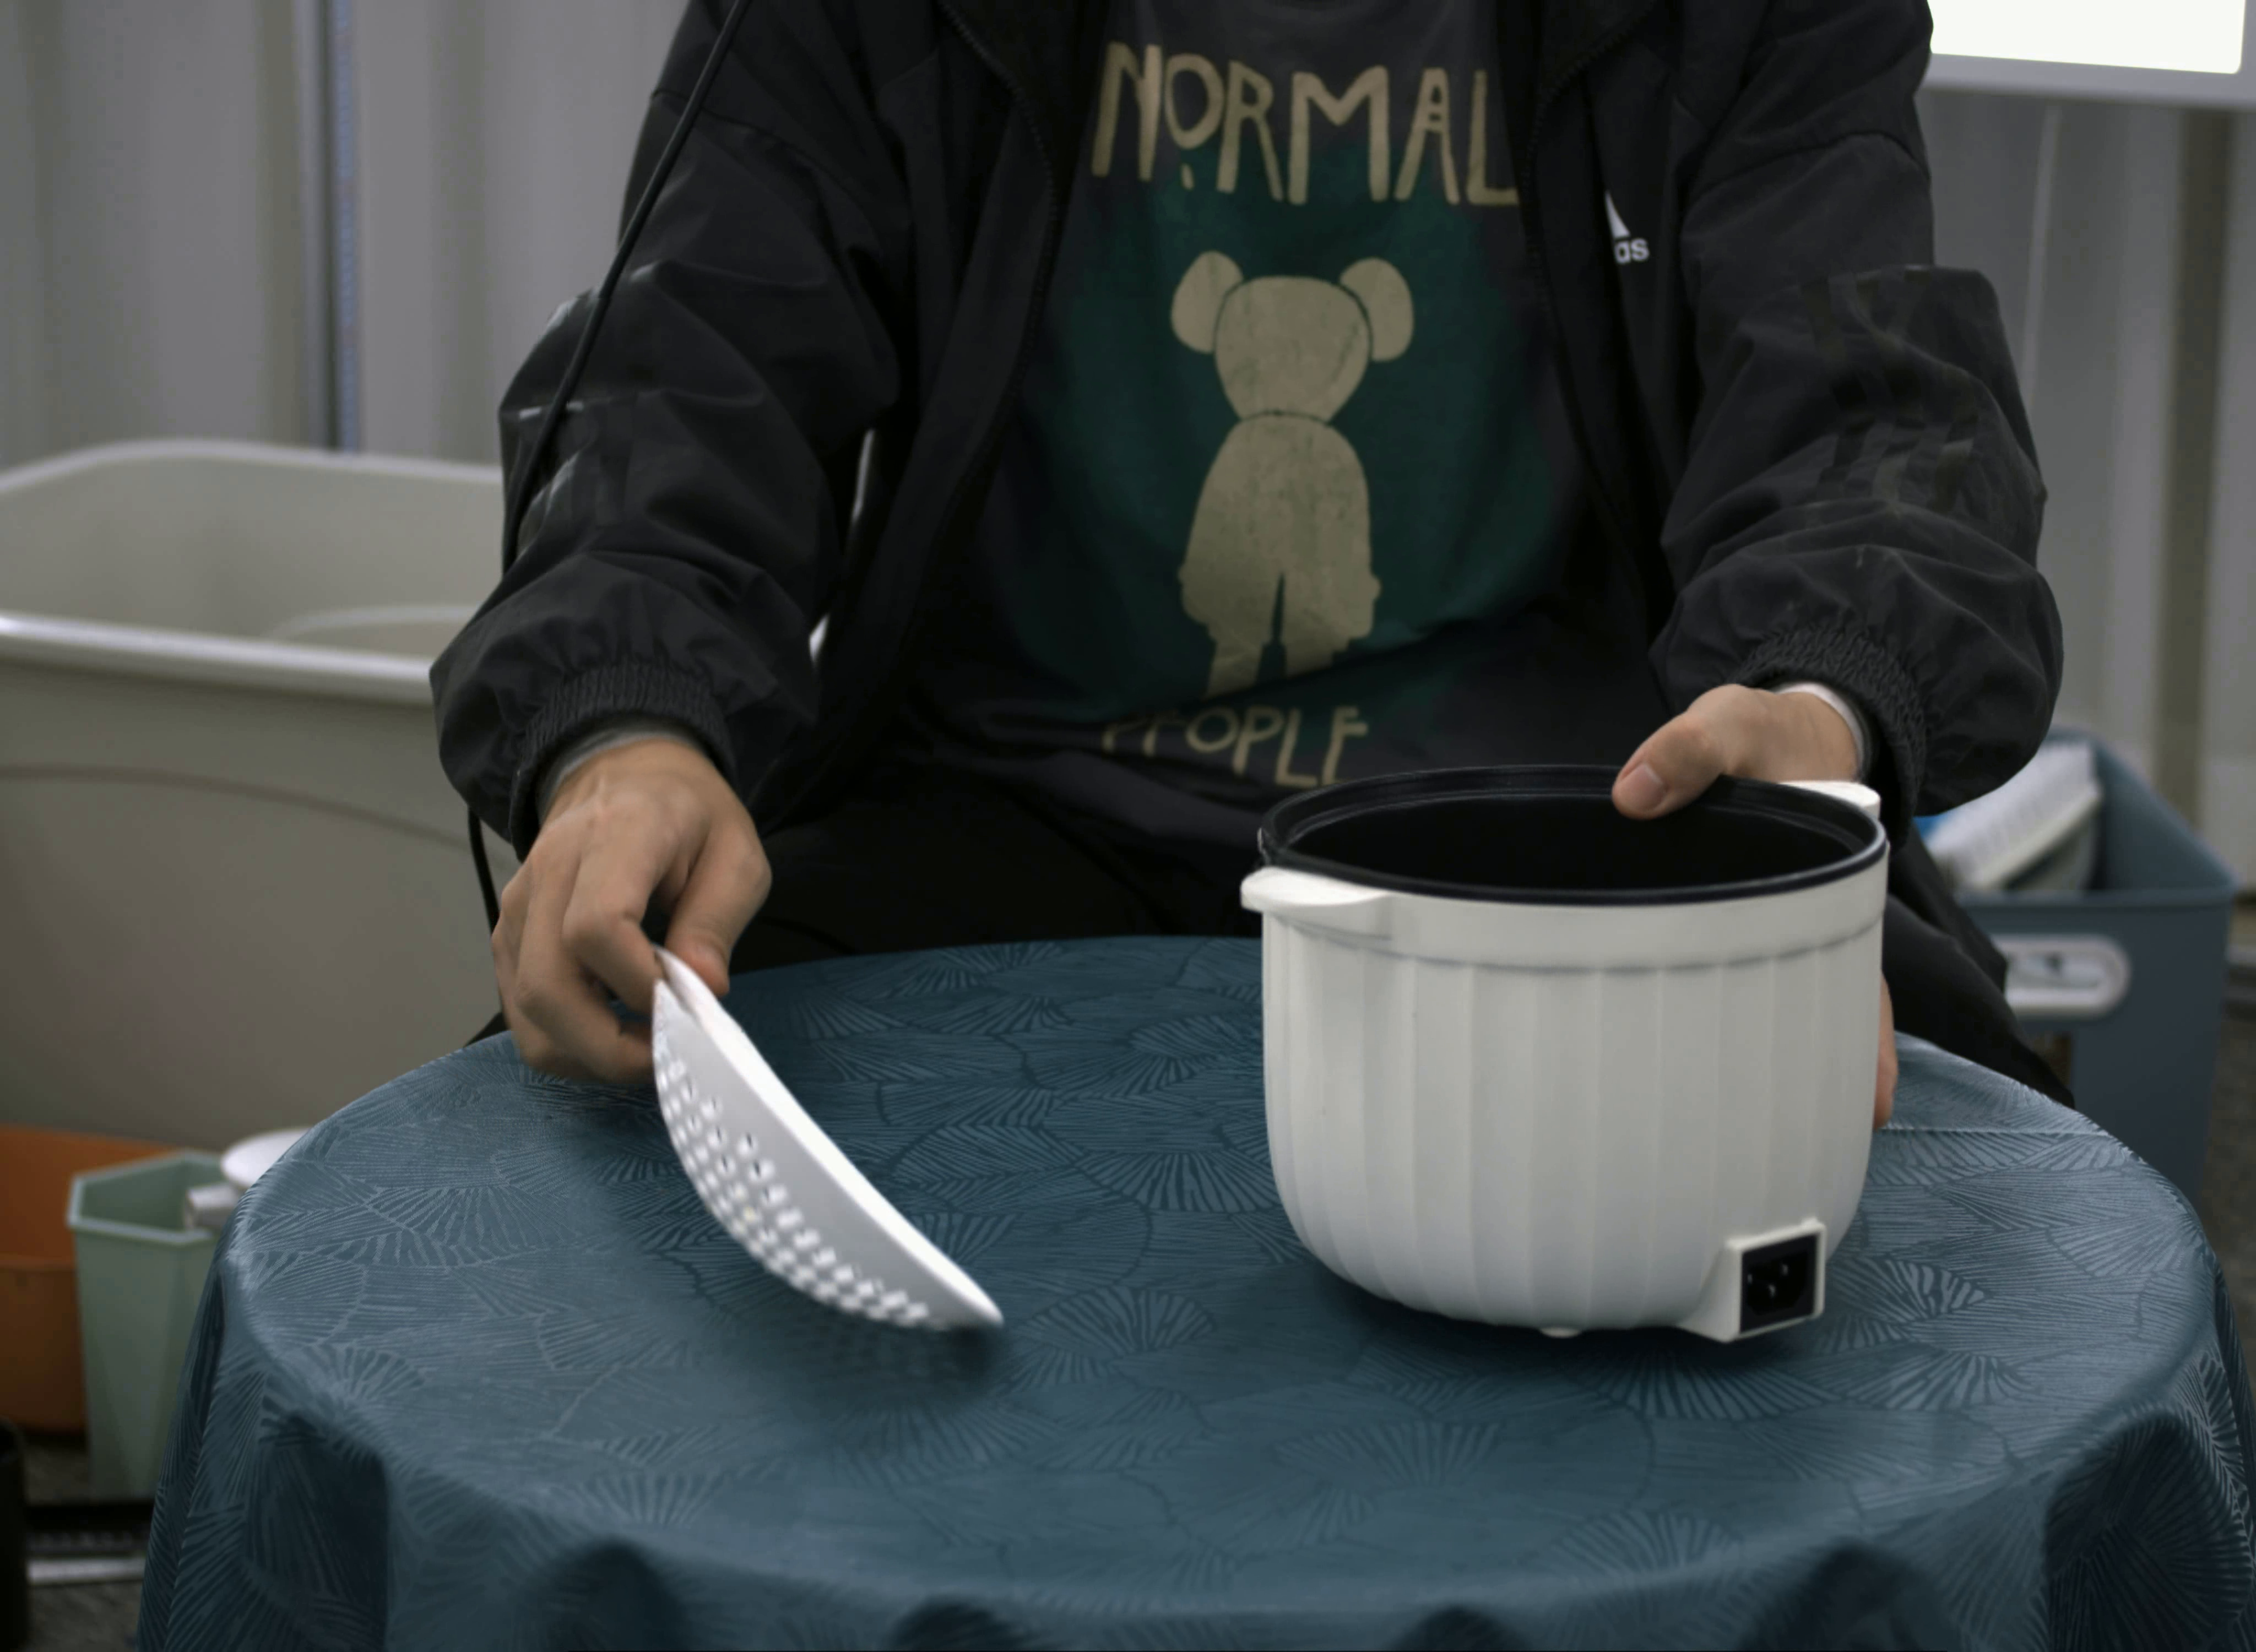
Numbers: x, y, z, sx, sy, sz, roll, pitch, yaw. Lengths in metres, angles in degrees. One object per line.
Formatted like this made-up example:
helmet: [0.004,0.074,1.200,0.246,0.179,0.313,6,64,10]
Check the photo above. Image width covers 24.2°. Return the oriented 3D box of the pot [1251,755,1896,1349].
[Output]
pot: [0.124,0.063,1.533,0.242,0.144,0.188,-9,19,-40]

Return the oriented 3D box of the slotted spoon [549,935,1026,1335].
slotted spoon: [-0.122,0.077,1.584,0.050,0.138,0.344,-46,22,1]
